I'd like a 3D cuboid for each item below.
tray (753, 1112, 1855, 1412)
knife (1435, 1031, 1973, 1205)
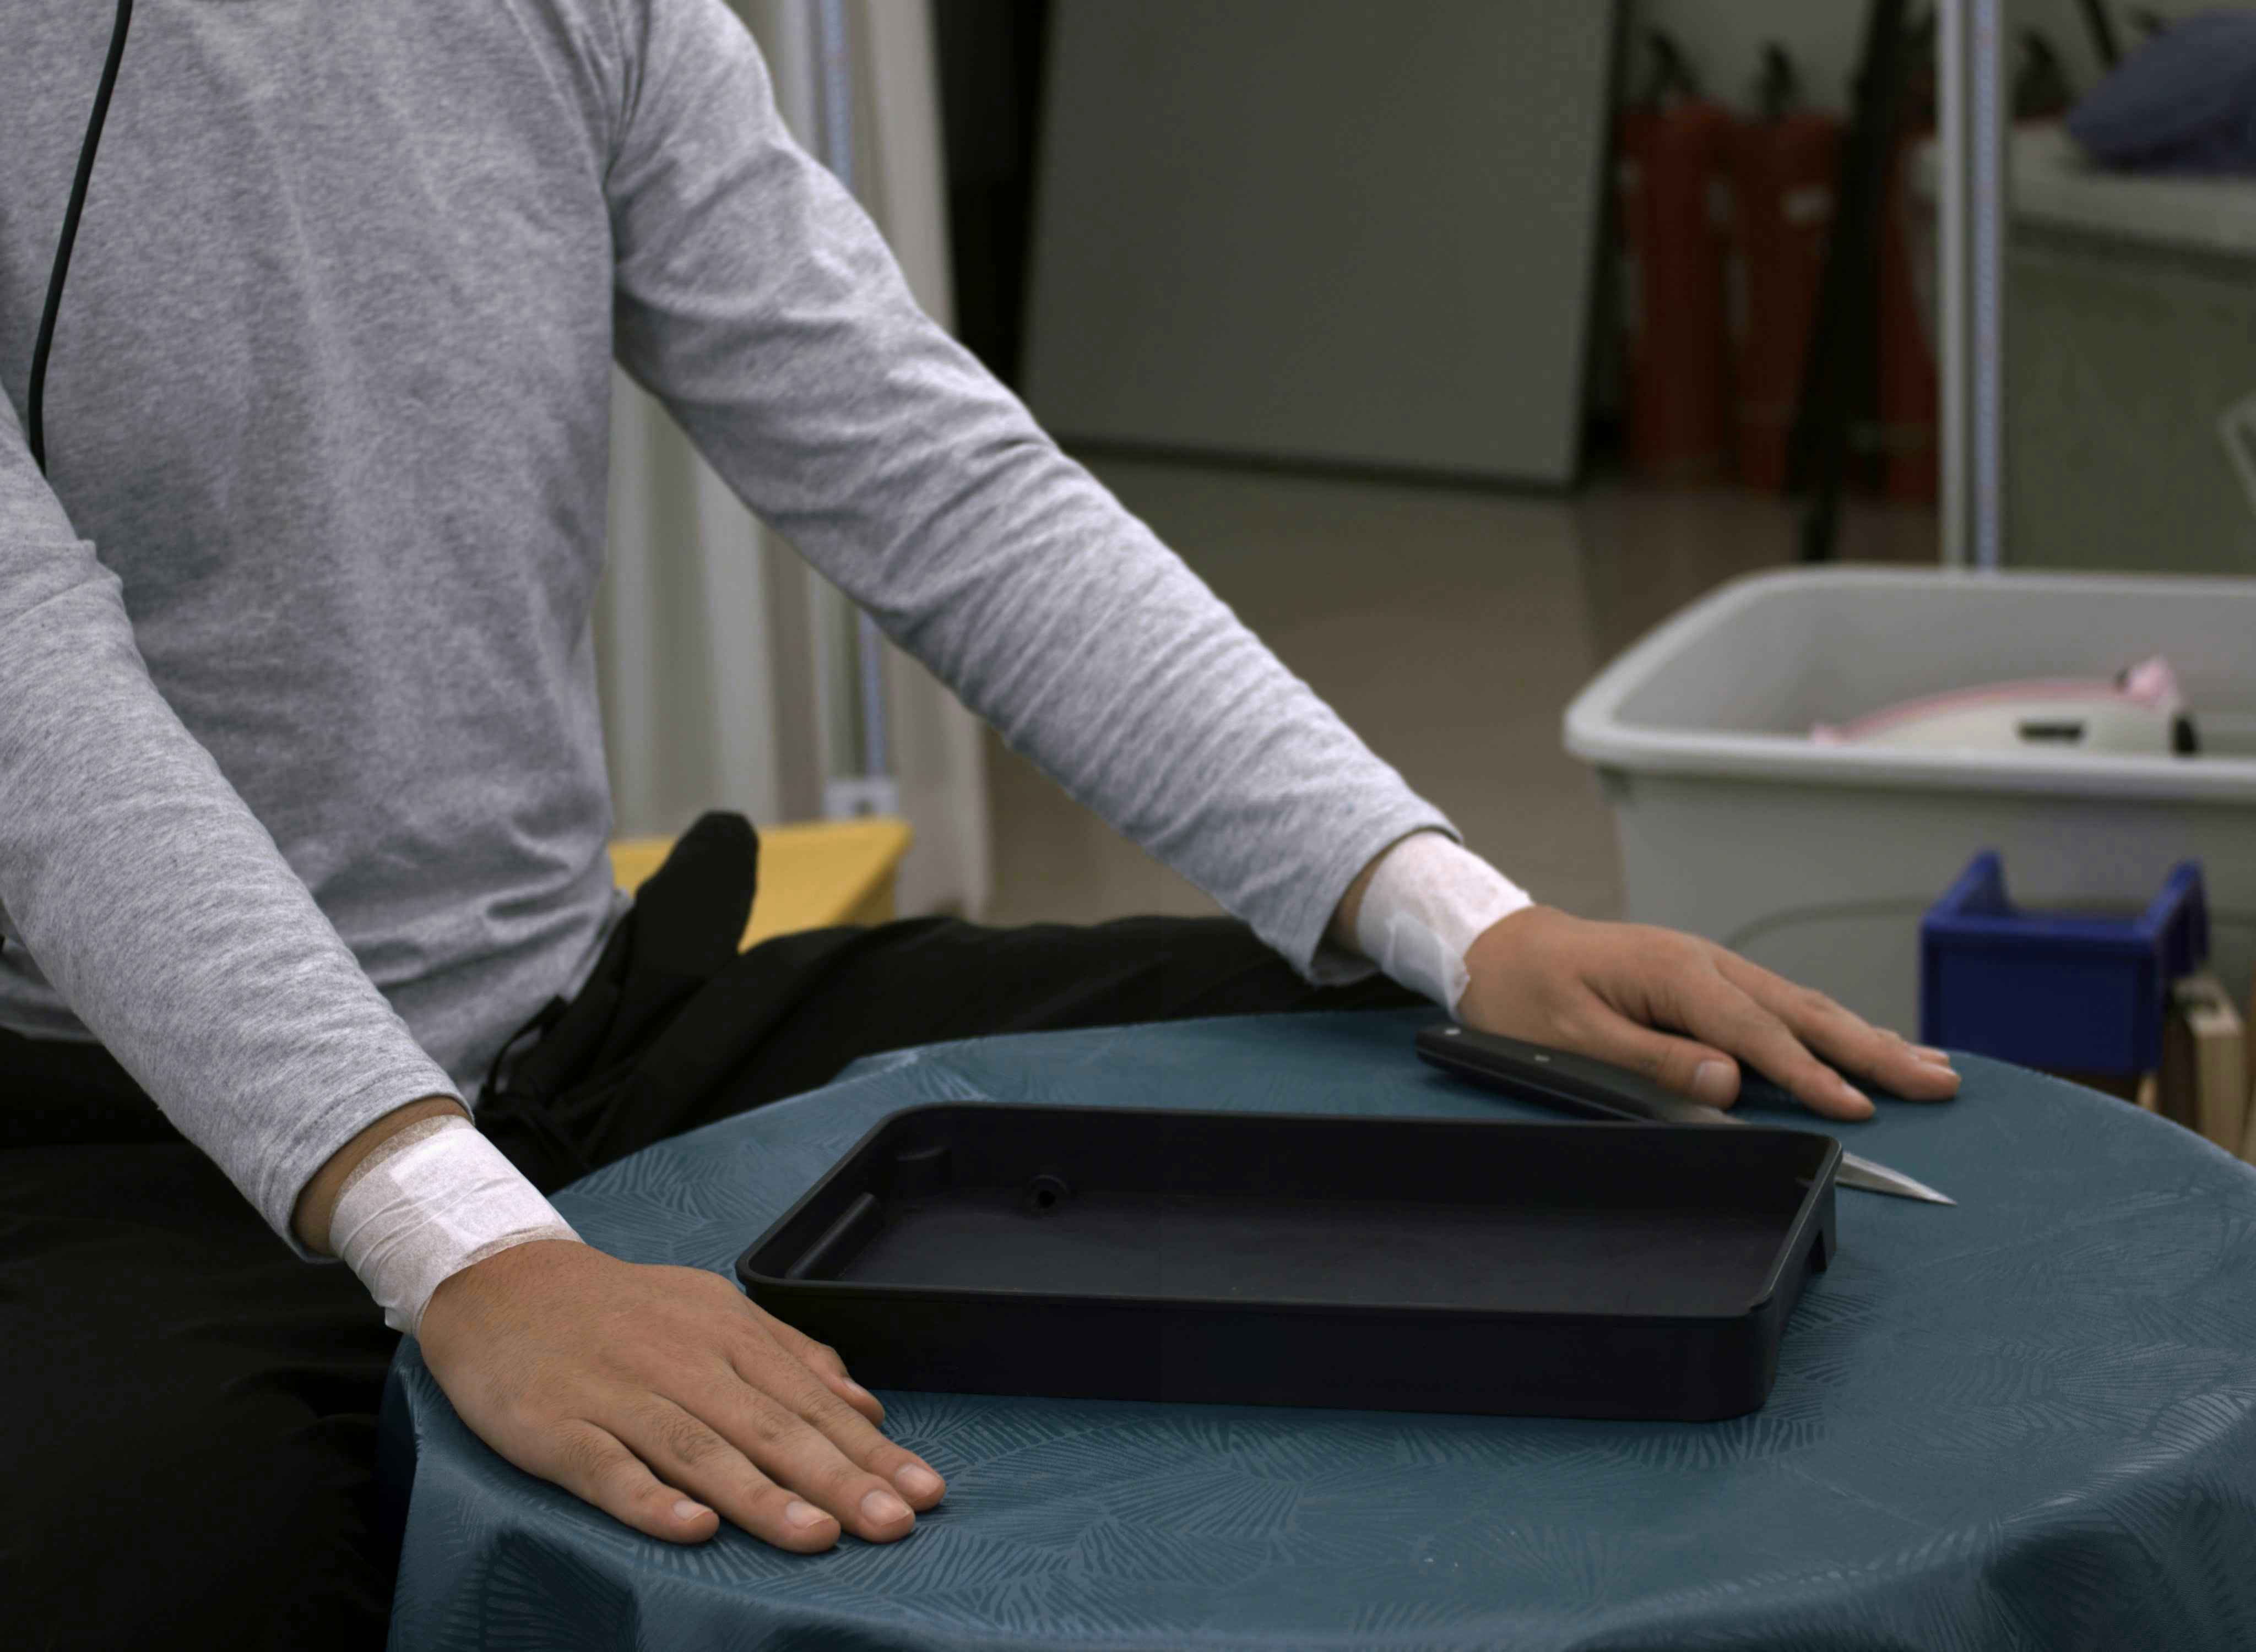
[{"bbox_3d":[0.058,0.130,1.644,0.317,0.037,0.183,-1,13,16],"label":"tray"},{"bbox_3d":[0.186,0.099,1.789,0.024,0.016,0.240,-17,21,-38],"label":"knife"}]
